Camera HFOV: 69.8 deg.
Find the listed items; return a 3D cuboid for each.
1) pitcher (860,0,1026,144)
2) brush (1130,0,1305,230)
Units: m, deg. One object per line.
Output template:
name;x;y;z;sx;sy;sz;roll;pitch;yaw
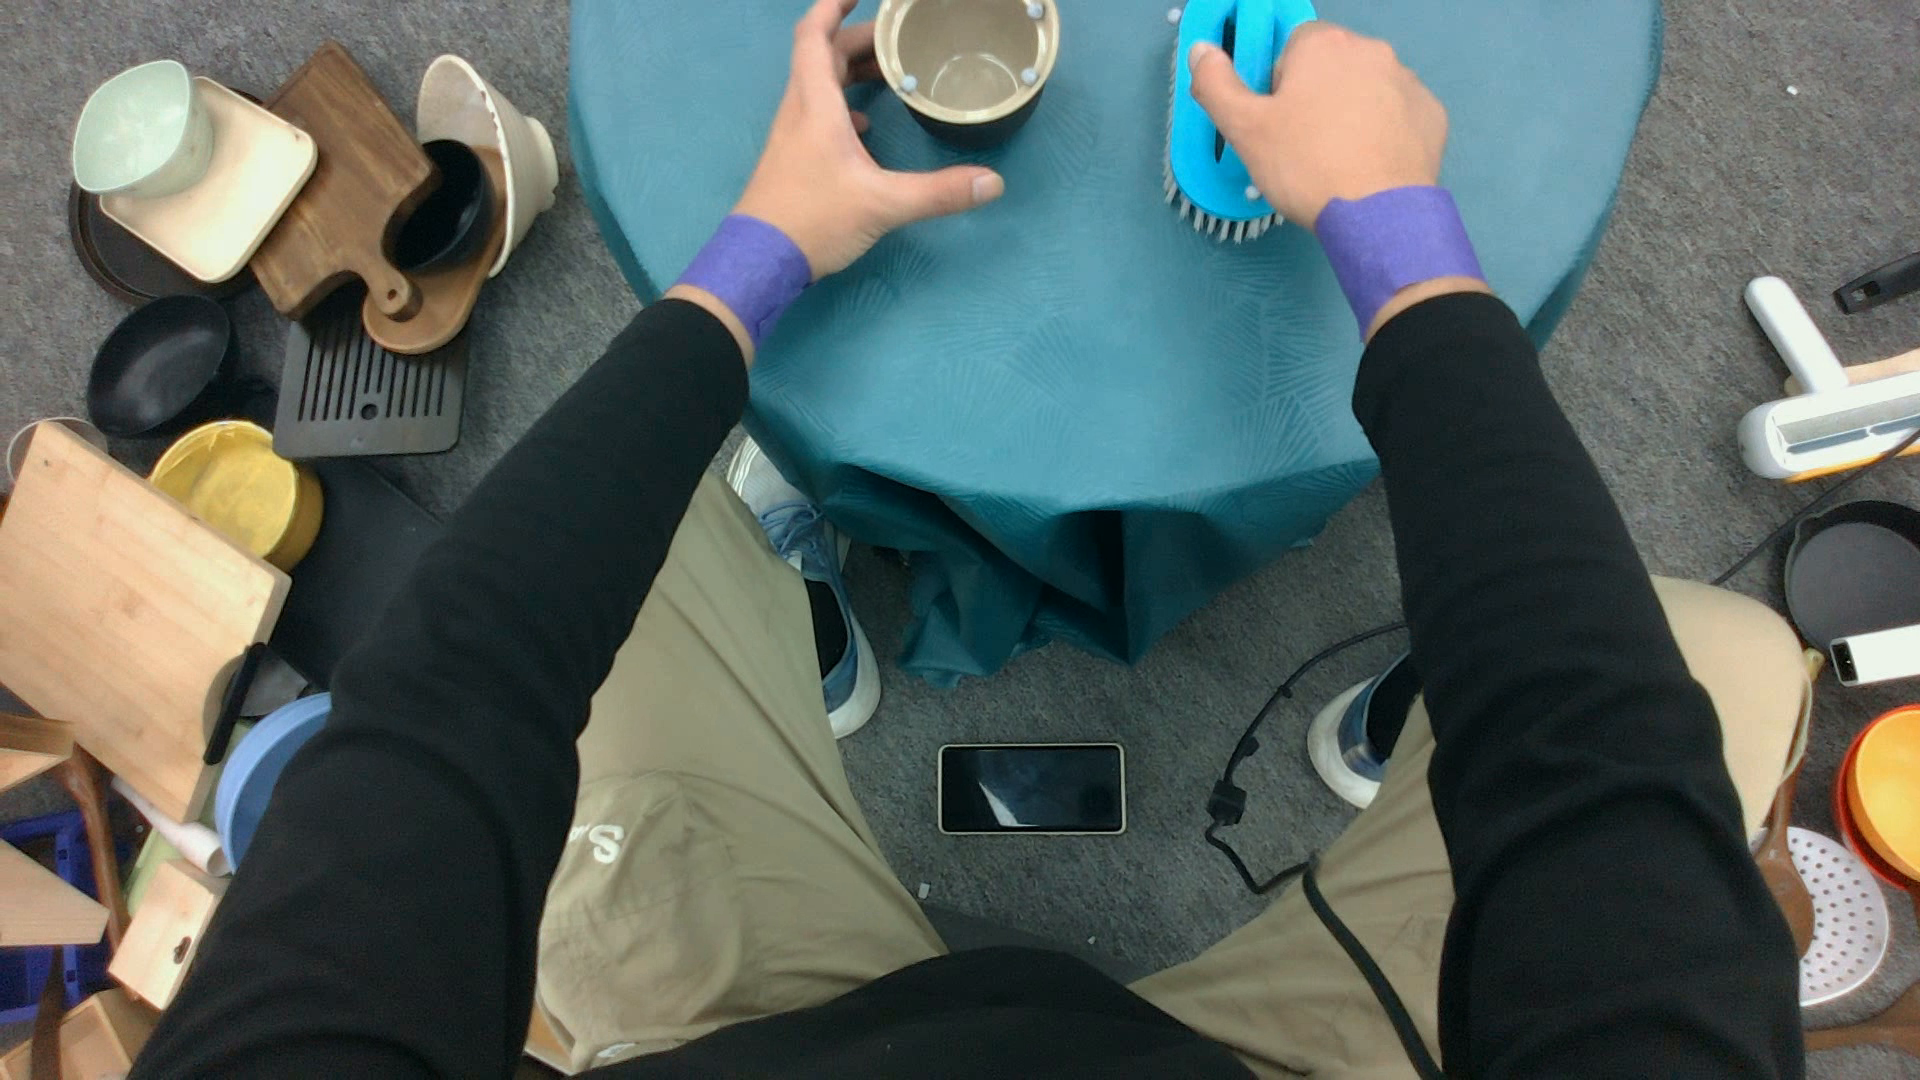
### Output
pitcher;-0.006;-0.253;0.722;0.083;0.071;0.096;10;79;6
brush;0.136;-0.238;0.716;0.084;0.063;0.142;6;81;0
